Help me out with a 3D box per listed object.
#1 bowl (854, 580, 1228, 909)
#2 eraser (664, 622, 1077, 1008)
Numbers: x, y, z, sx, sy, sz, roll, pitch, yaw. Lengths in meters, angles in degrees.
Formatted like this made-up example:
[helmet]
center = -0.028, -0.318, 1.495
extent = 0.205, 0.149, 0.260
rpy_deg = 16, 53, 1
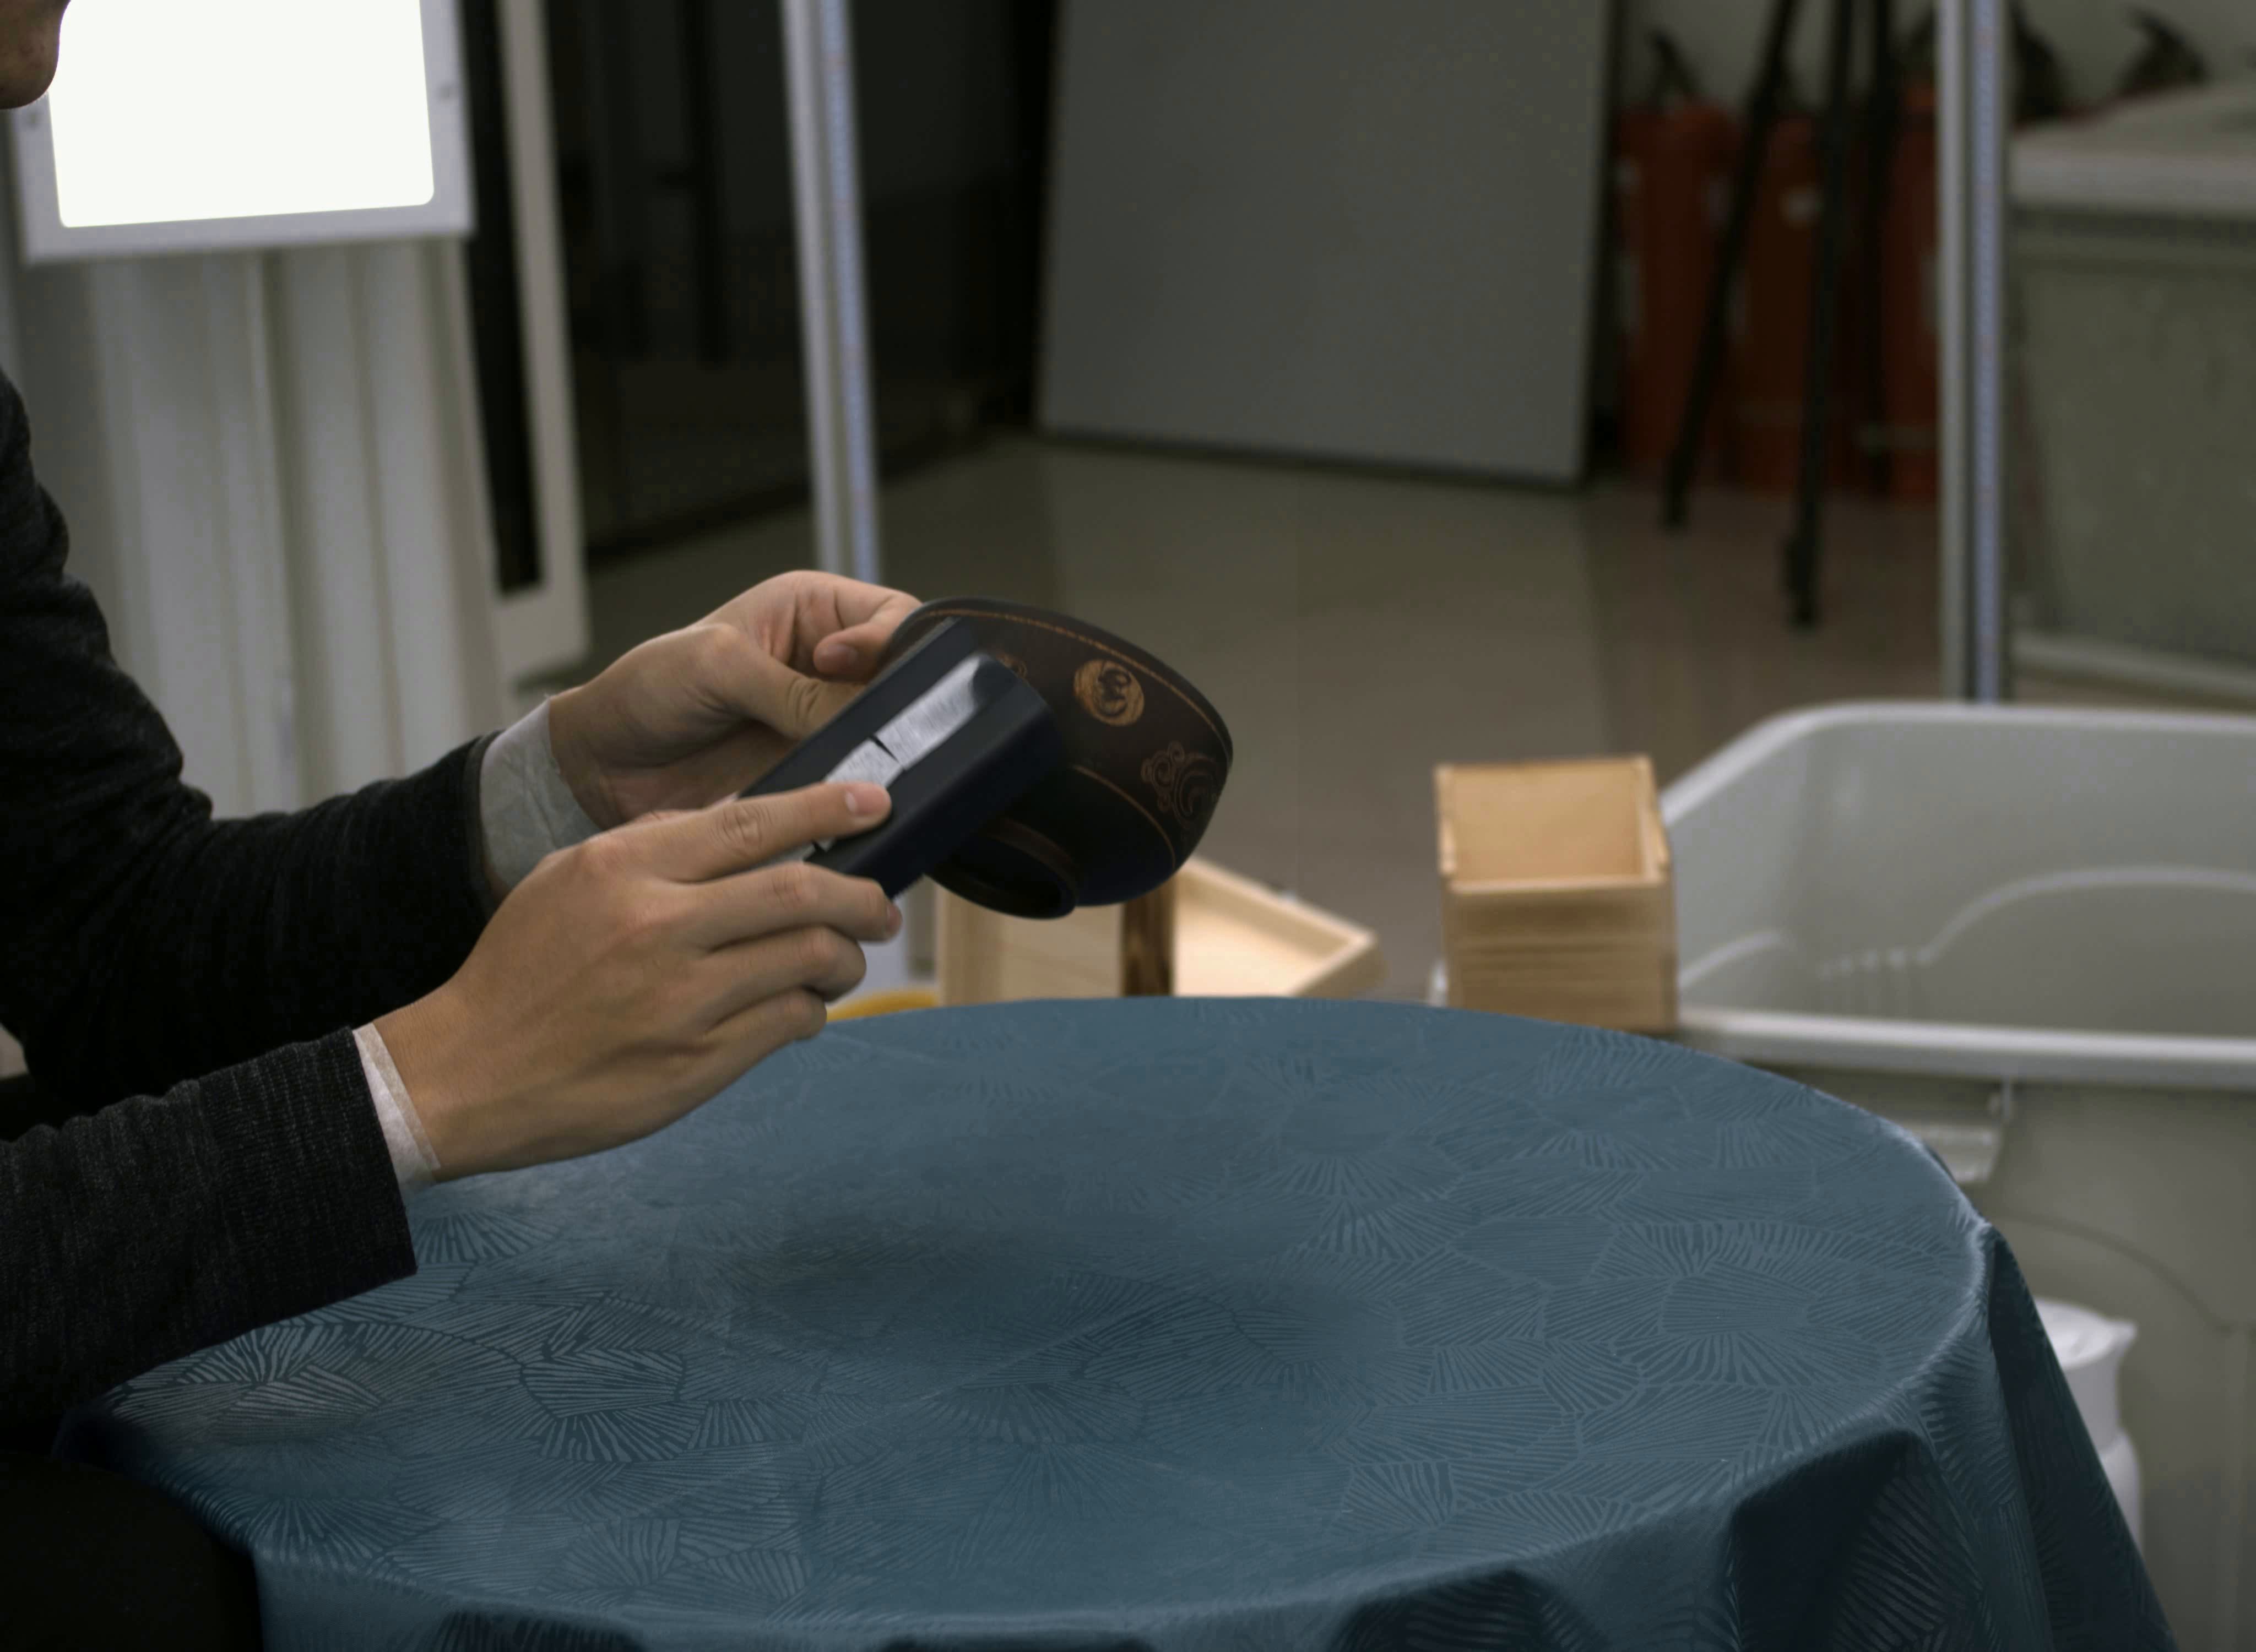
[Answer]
[bowl]
center = -0.033, -0.018, 1.703
extent = 0.117, 0.070, 0.118
rpy_deg = 19, -22, 7
[eraser]
center = -0.076, -0.005, 1.622
extent = 0.125, 0.030, 0.054
rpy_deg = -42, 56, -12
